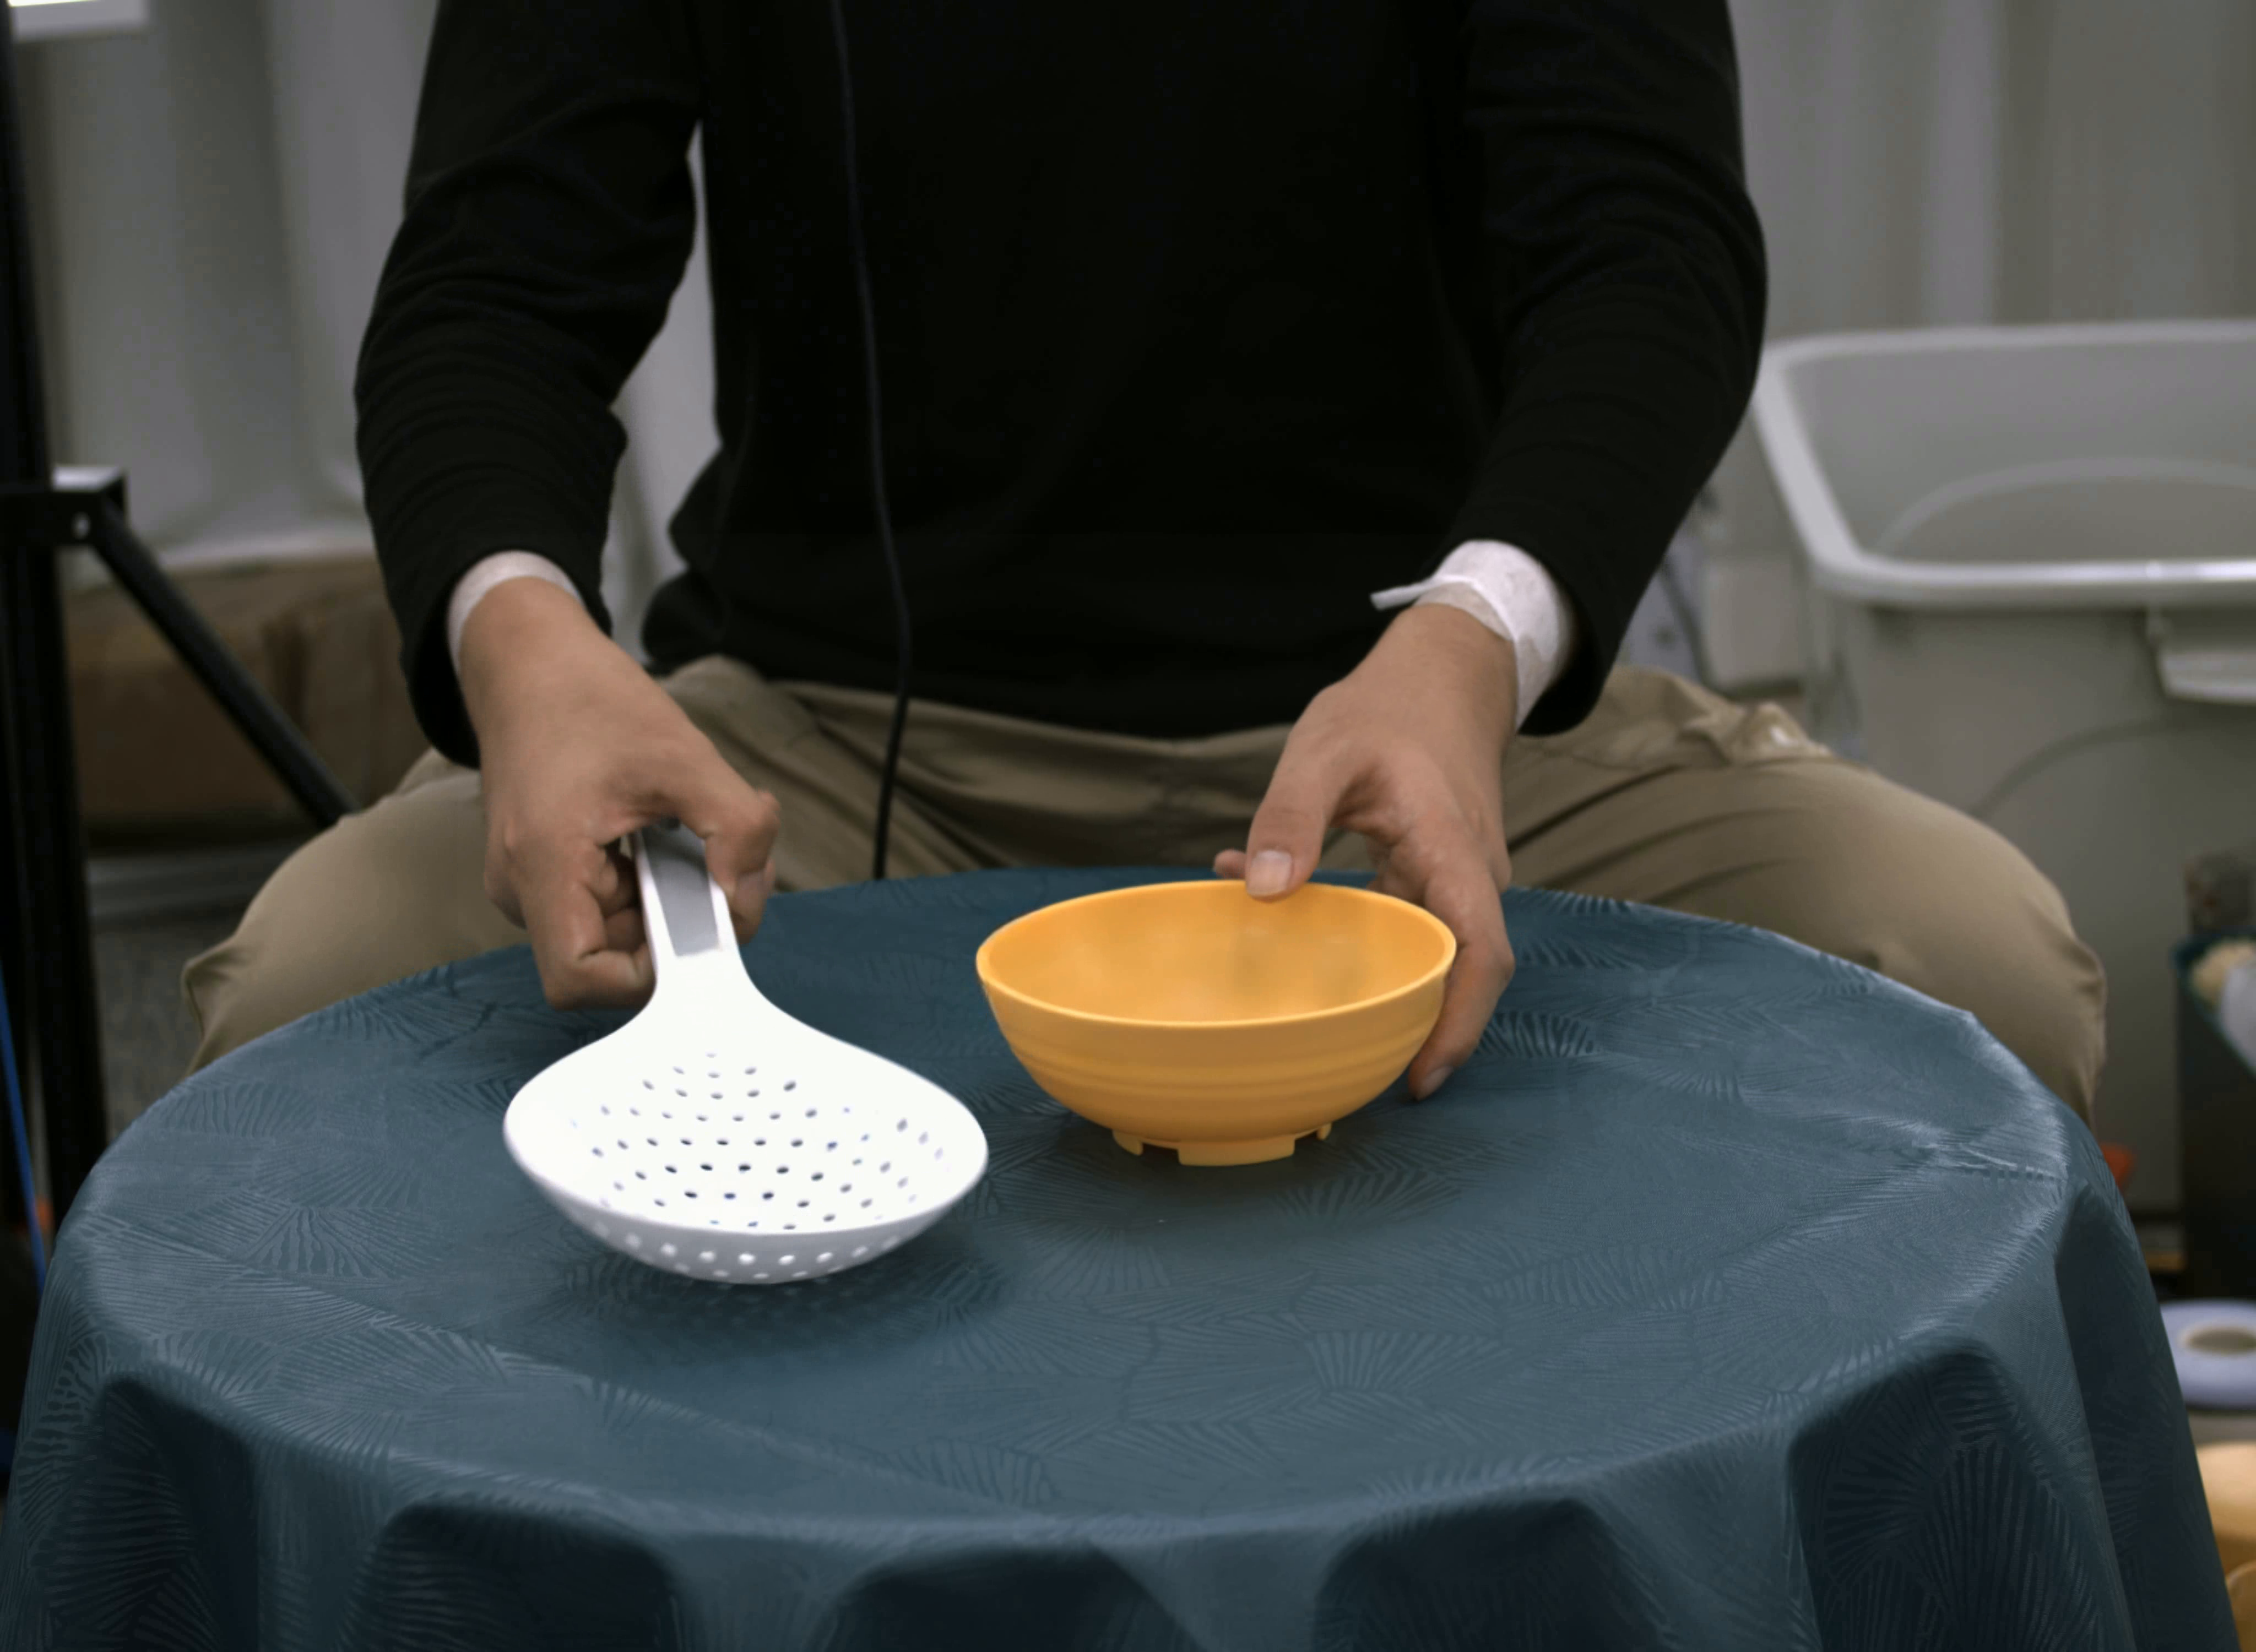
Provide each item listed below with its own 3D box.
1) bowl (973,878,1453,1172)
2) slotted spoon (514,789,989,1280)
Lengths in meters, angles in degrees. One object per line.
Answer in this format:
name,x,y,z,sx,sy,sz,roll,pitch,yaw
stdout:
bowl,0.025,0.066,1.601,0.144,0.060,0.146,-1,17,-1
slotted spoon,-0.126,0.055,1.606,0.134,0.046,0.354,4,24,-12
